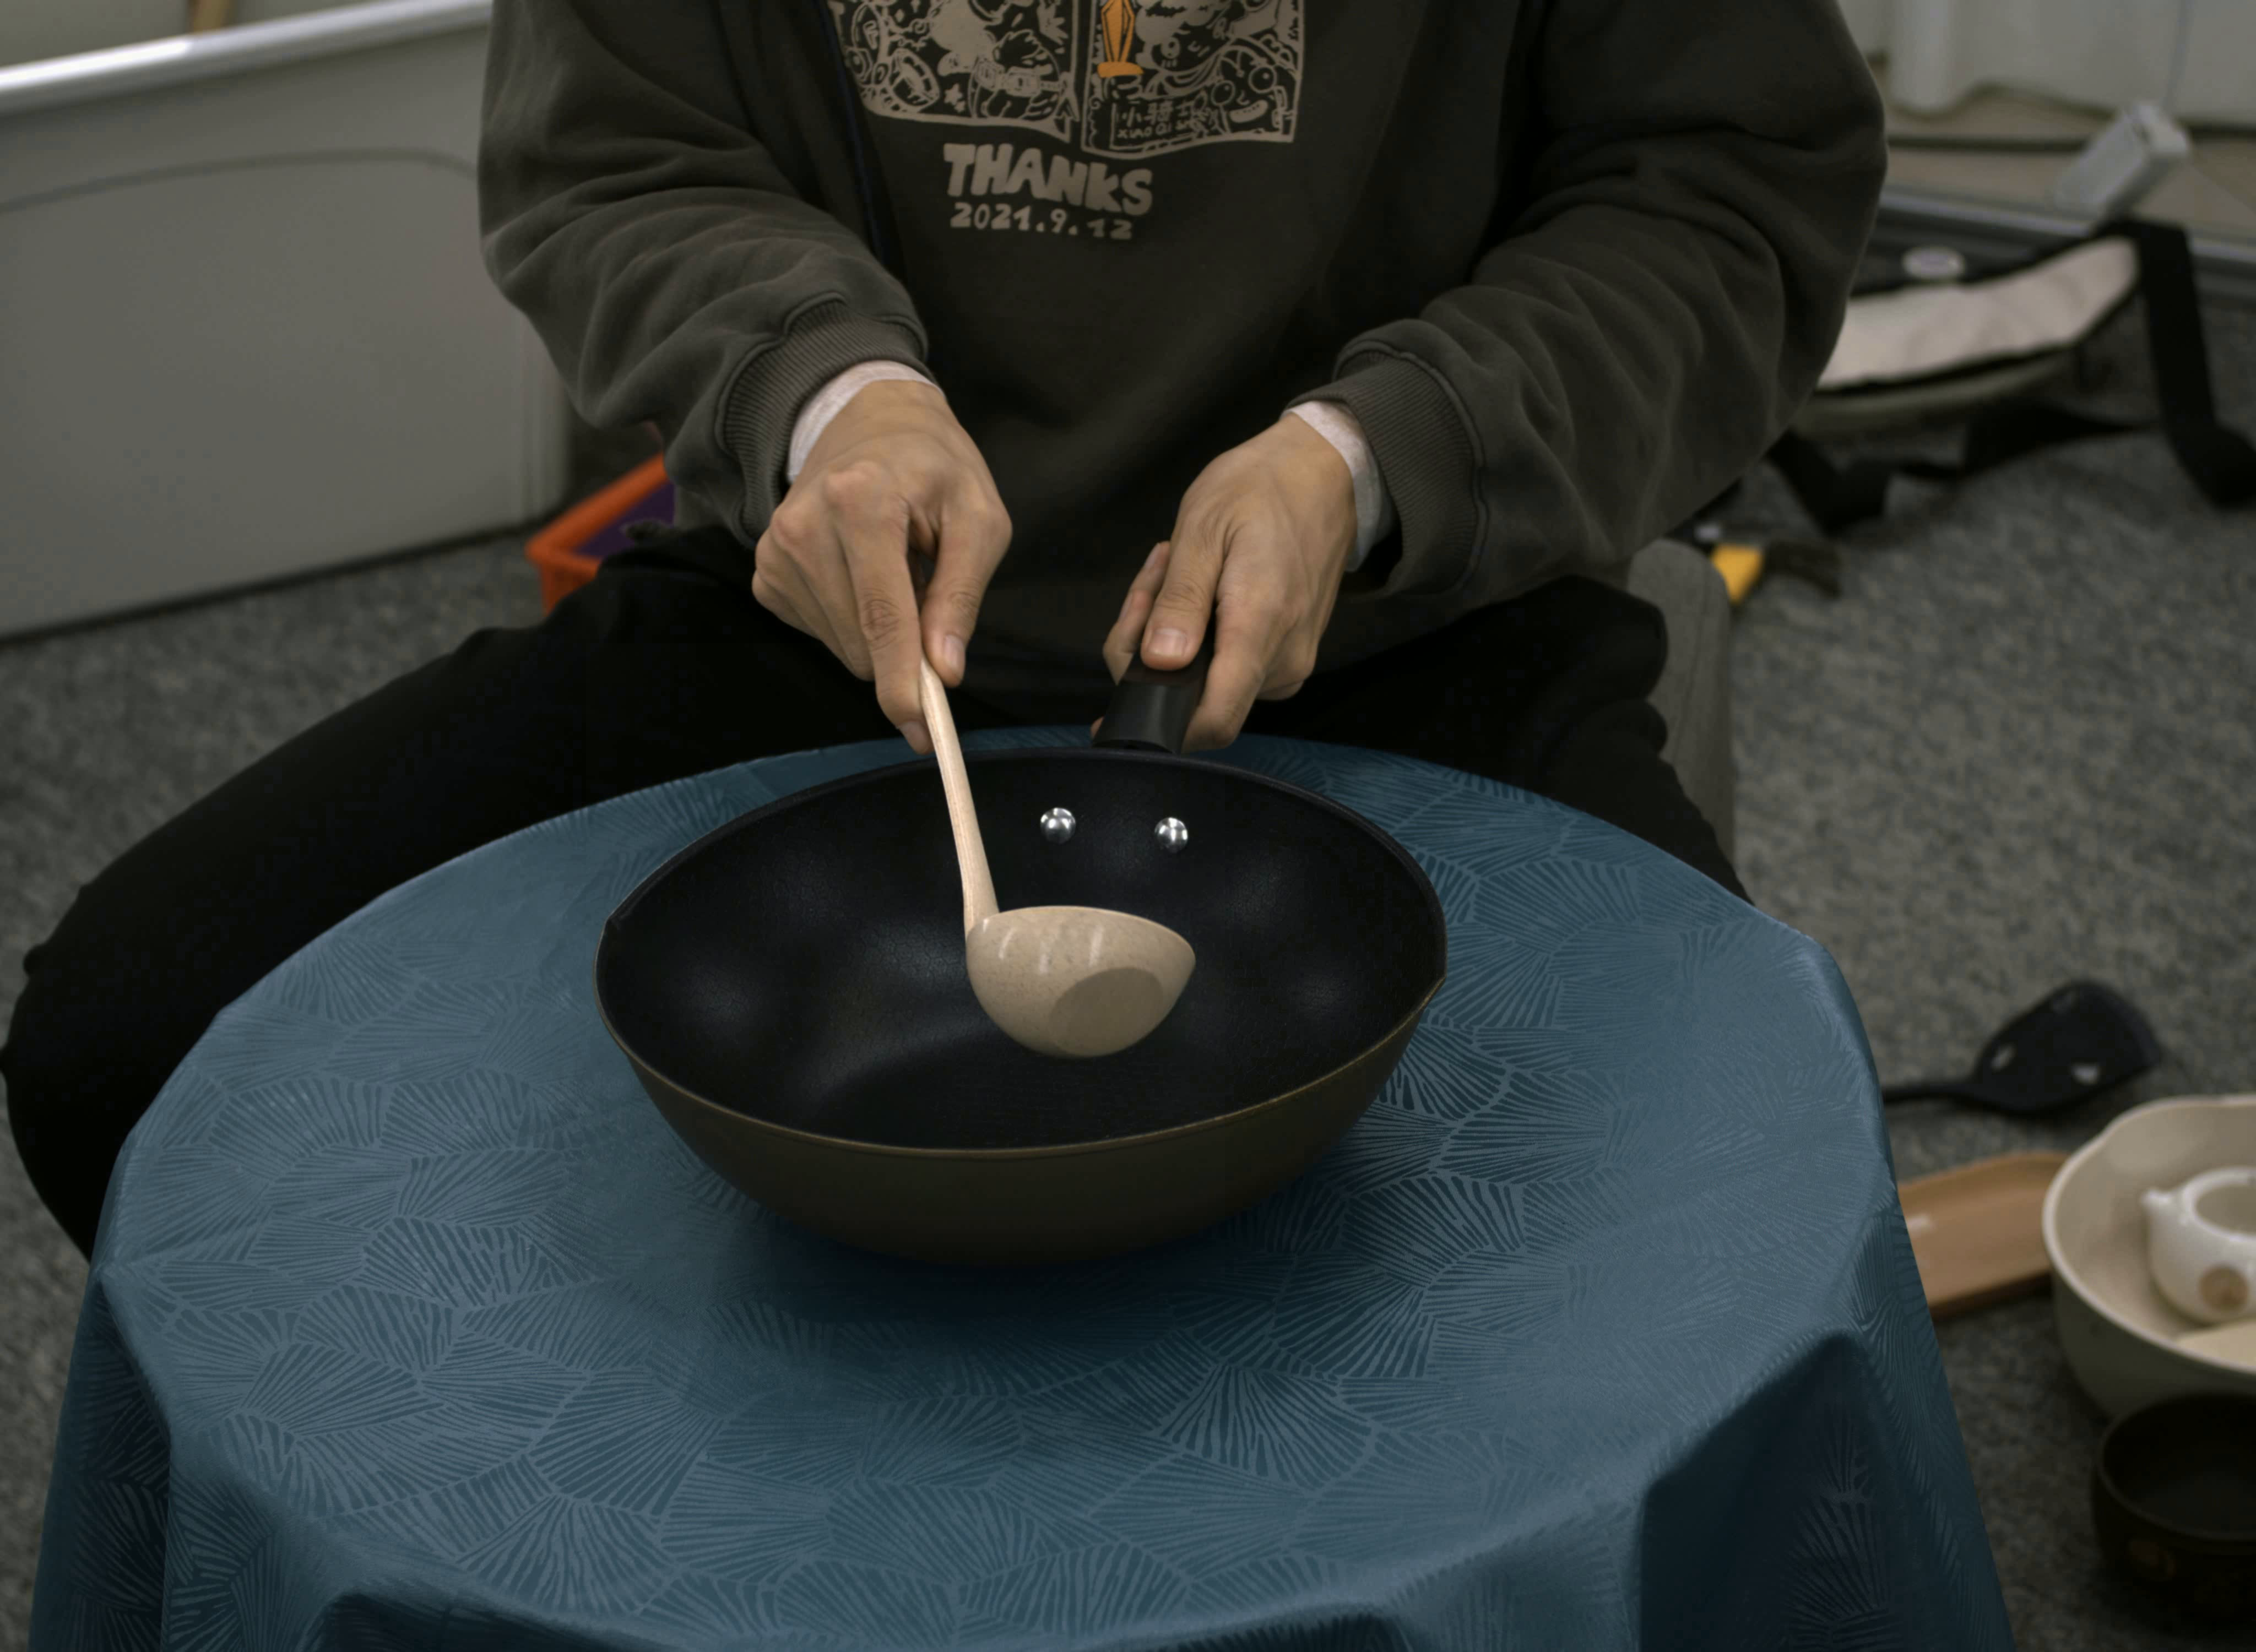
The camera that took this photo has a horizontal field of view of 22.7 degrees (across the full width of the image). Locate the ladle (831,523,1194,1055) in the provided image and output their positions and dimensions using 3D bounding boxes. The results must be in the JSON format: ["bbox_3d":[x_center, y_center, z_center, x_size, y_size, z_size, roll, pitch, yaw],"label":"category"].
[{"bbox_3d":[-0.042,-0.033,1.874,0.072,0.072,0.258,23,35,-40],"label":"ladle"}]

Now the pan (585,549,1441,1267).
[{"bbox_3d":[-0.014,0.030,1.950,0.286,0.086,0.471,4,27,13],"label":"pan"}]
